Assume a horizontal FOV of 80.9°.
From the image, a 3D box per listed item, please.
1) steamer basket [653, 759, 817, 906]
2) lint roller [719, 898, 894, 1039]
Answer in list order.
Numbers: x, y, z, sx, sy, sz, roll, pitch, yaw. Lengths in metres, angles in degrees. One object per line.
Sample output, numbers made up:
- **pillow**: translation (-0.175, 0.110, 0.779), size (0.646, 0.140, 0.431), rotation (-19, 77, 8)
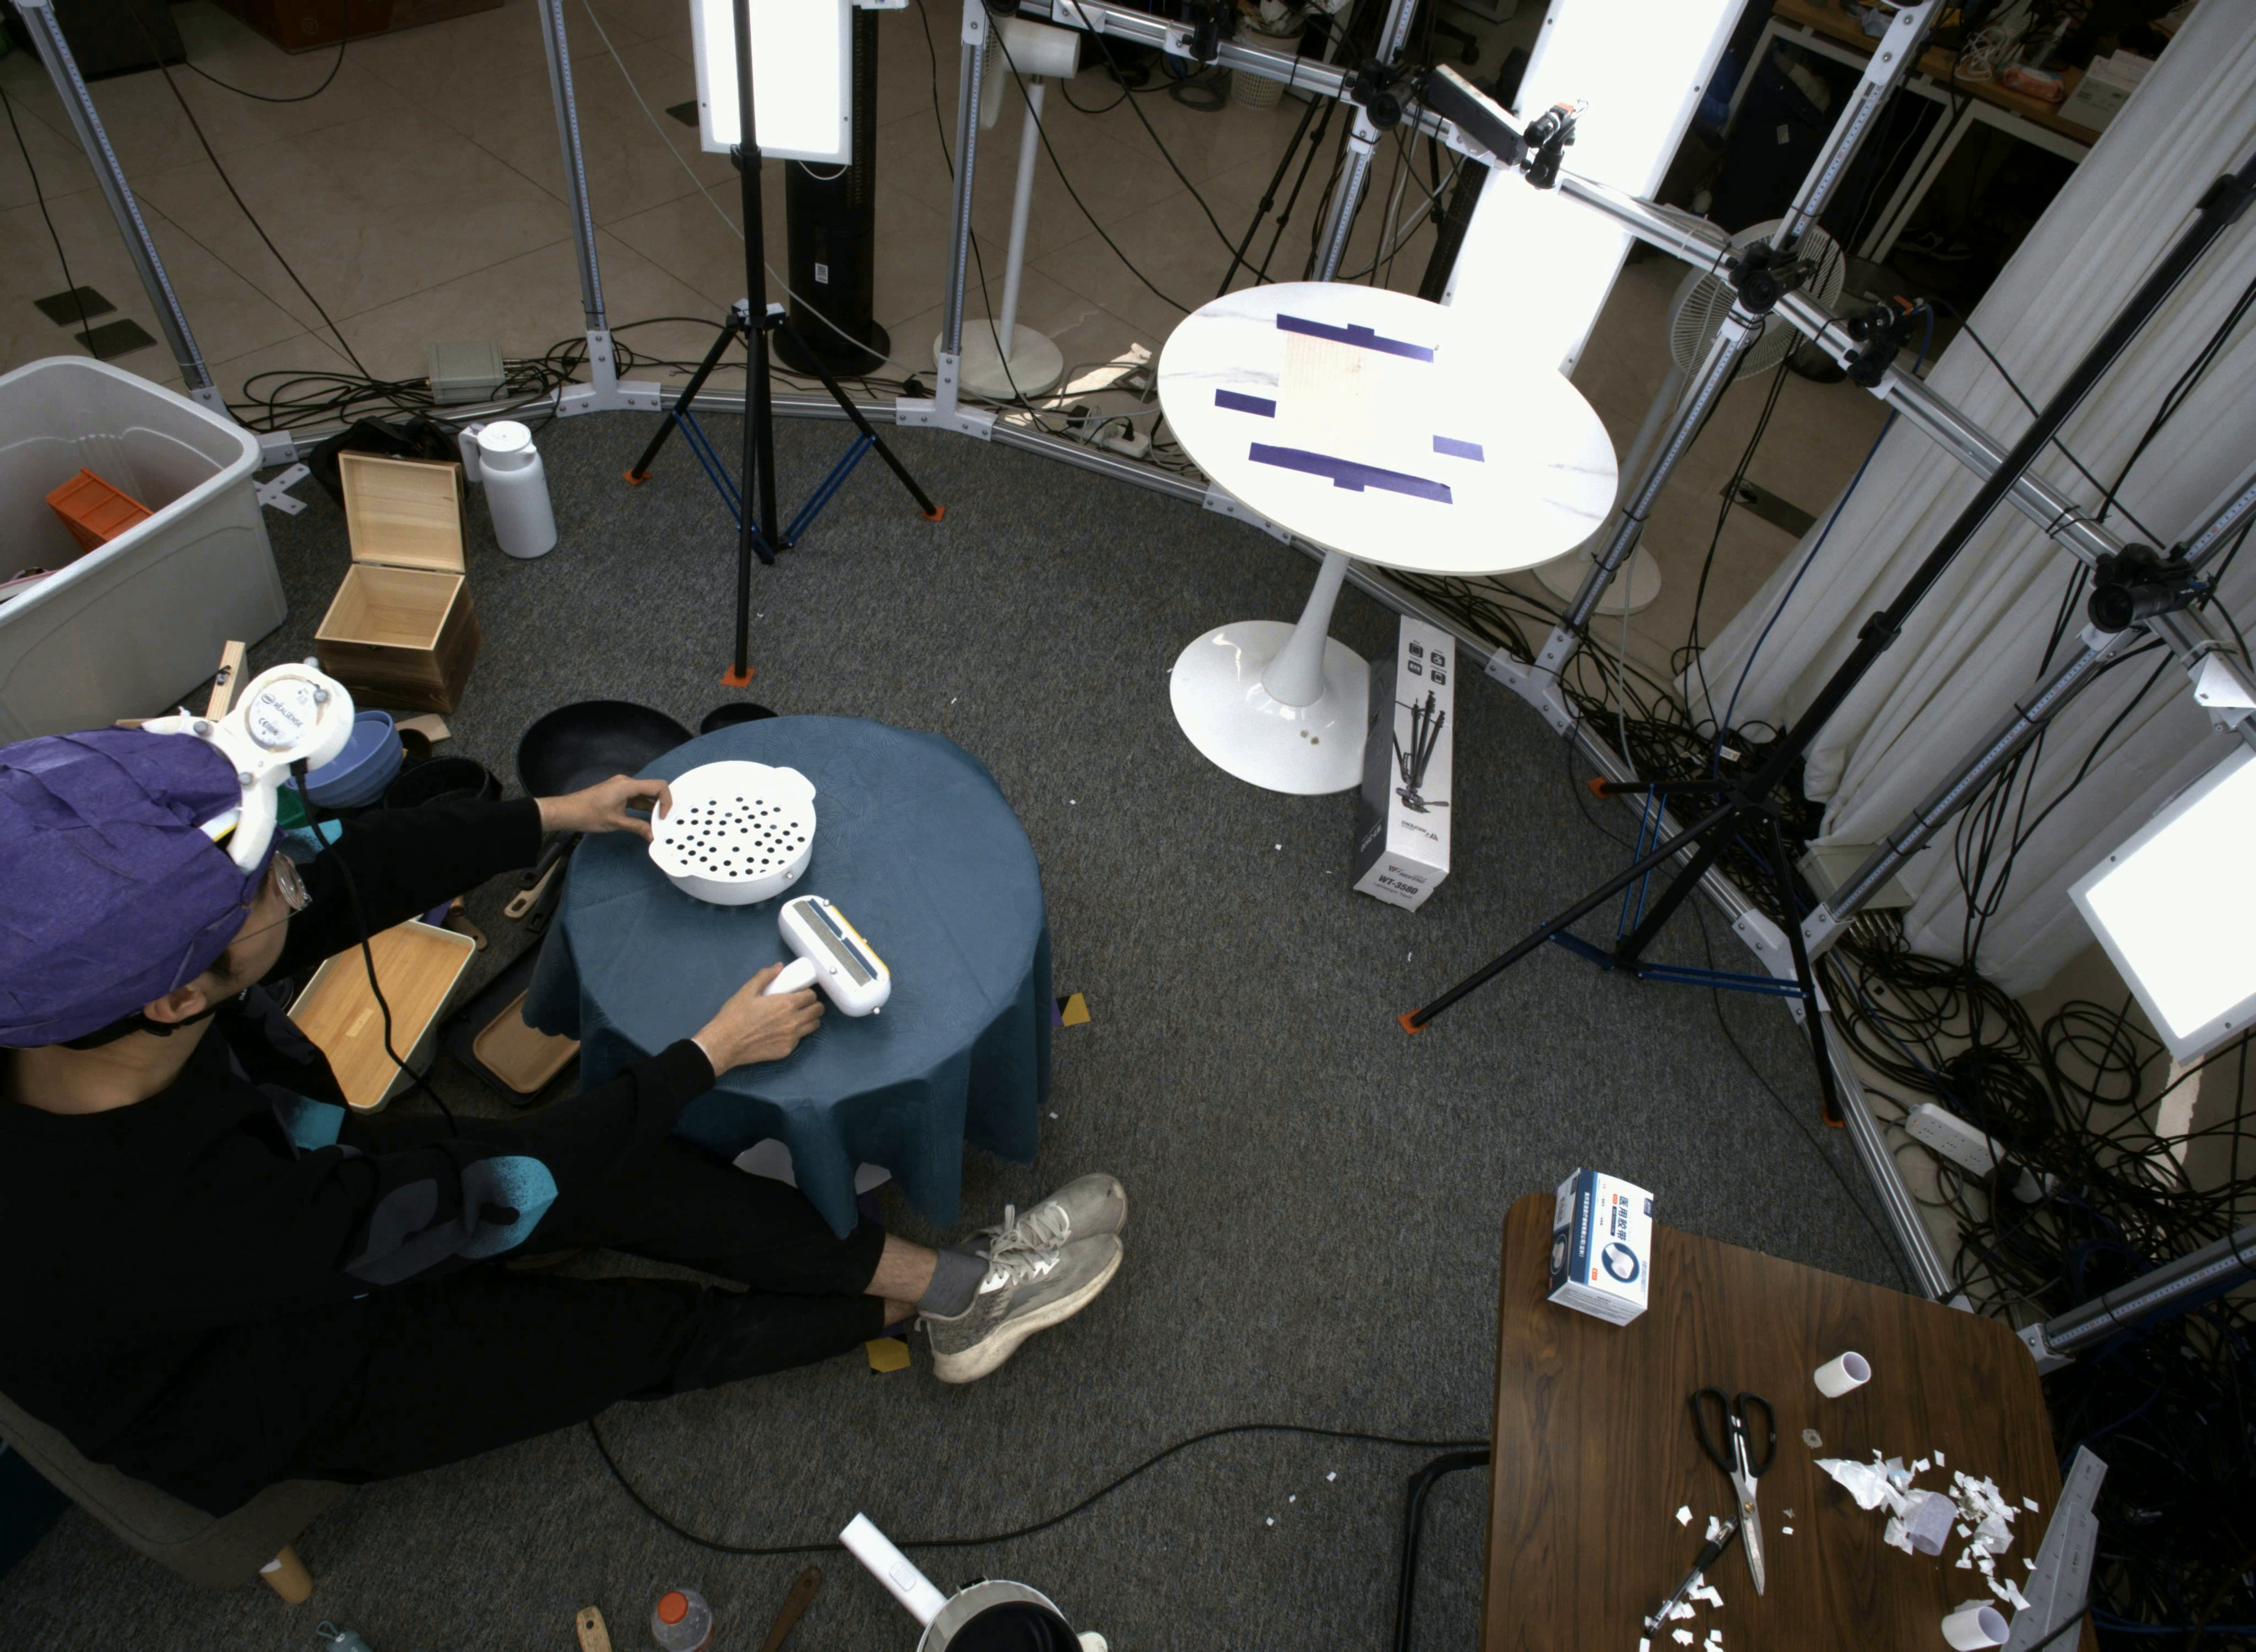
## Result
- **steamer basket**: translation (-0.500, 0.008, 1.661), size (0.197, 0.071, 0.231), rotation (39, 55, 17)
- **lint roller**: translation (-0.401, 0.186, 1.555), size (0.193, 0.076, 0.187), rotation (-25, 57, -27)
